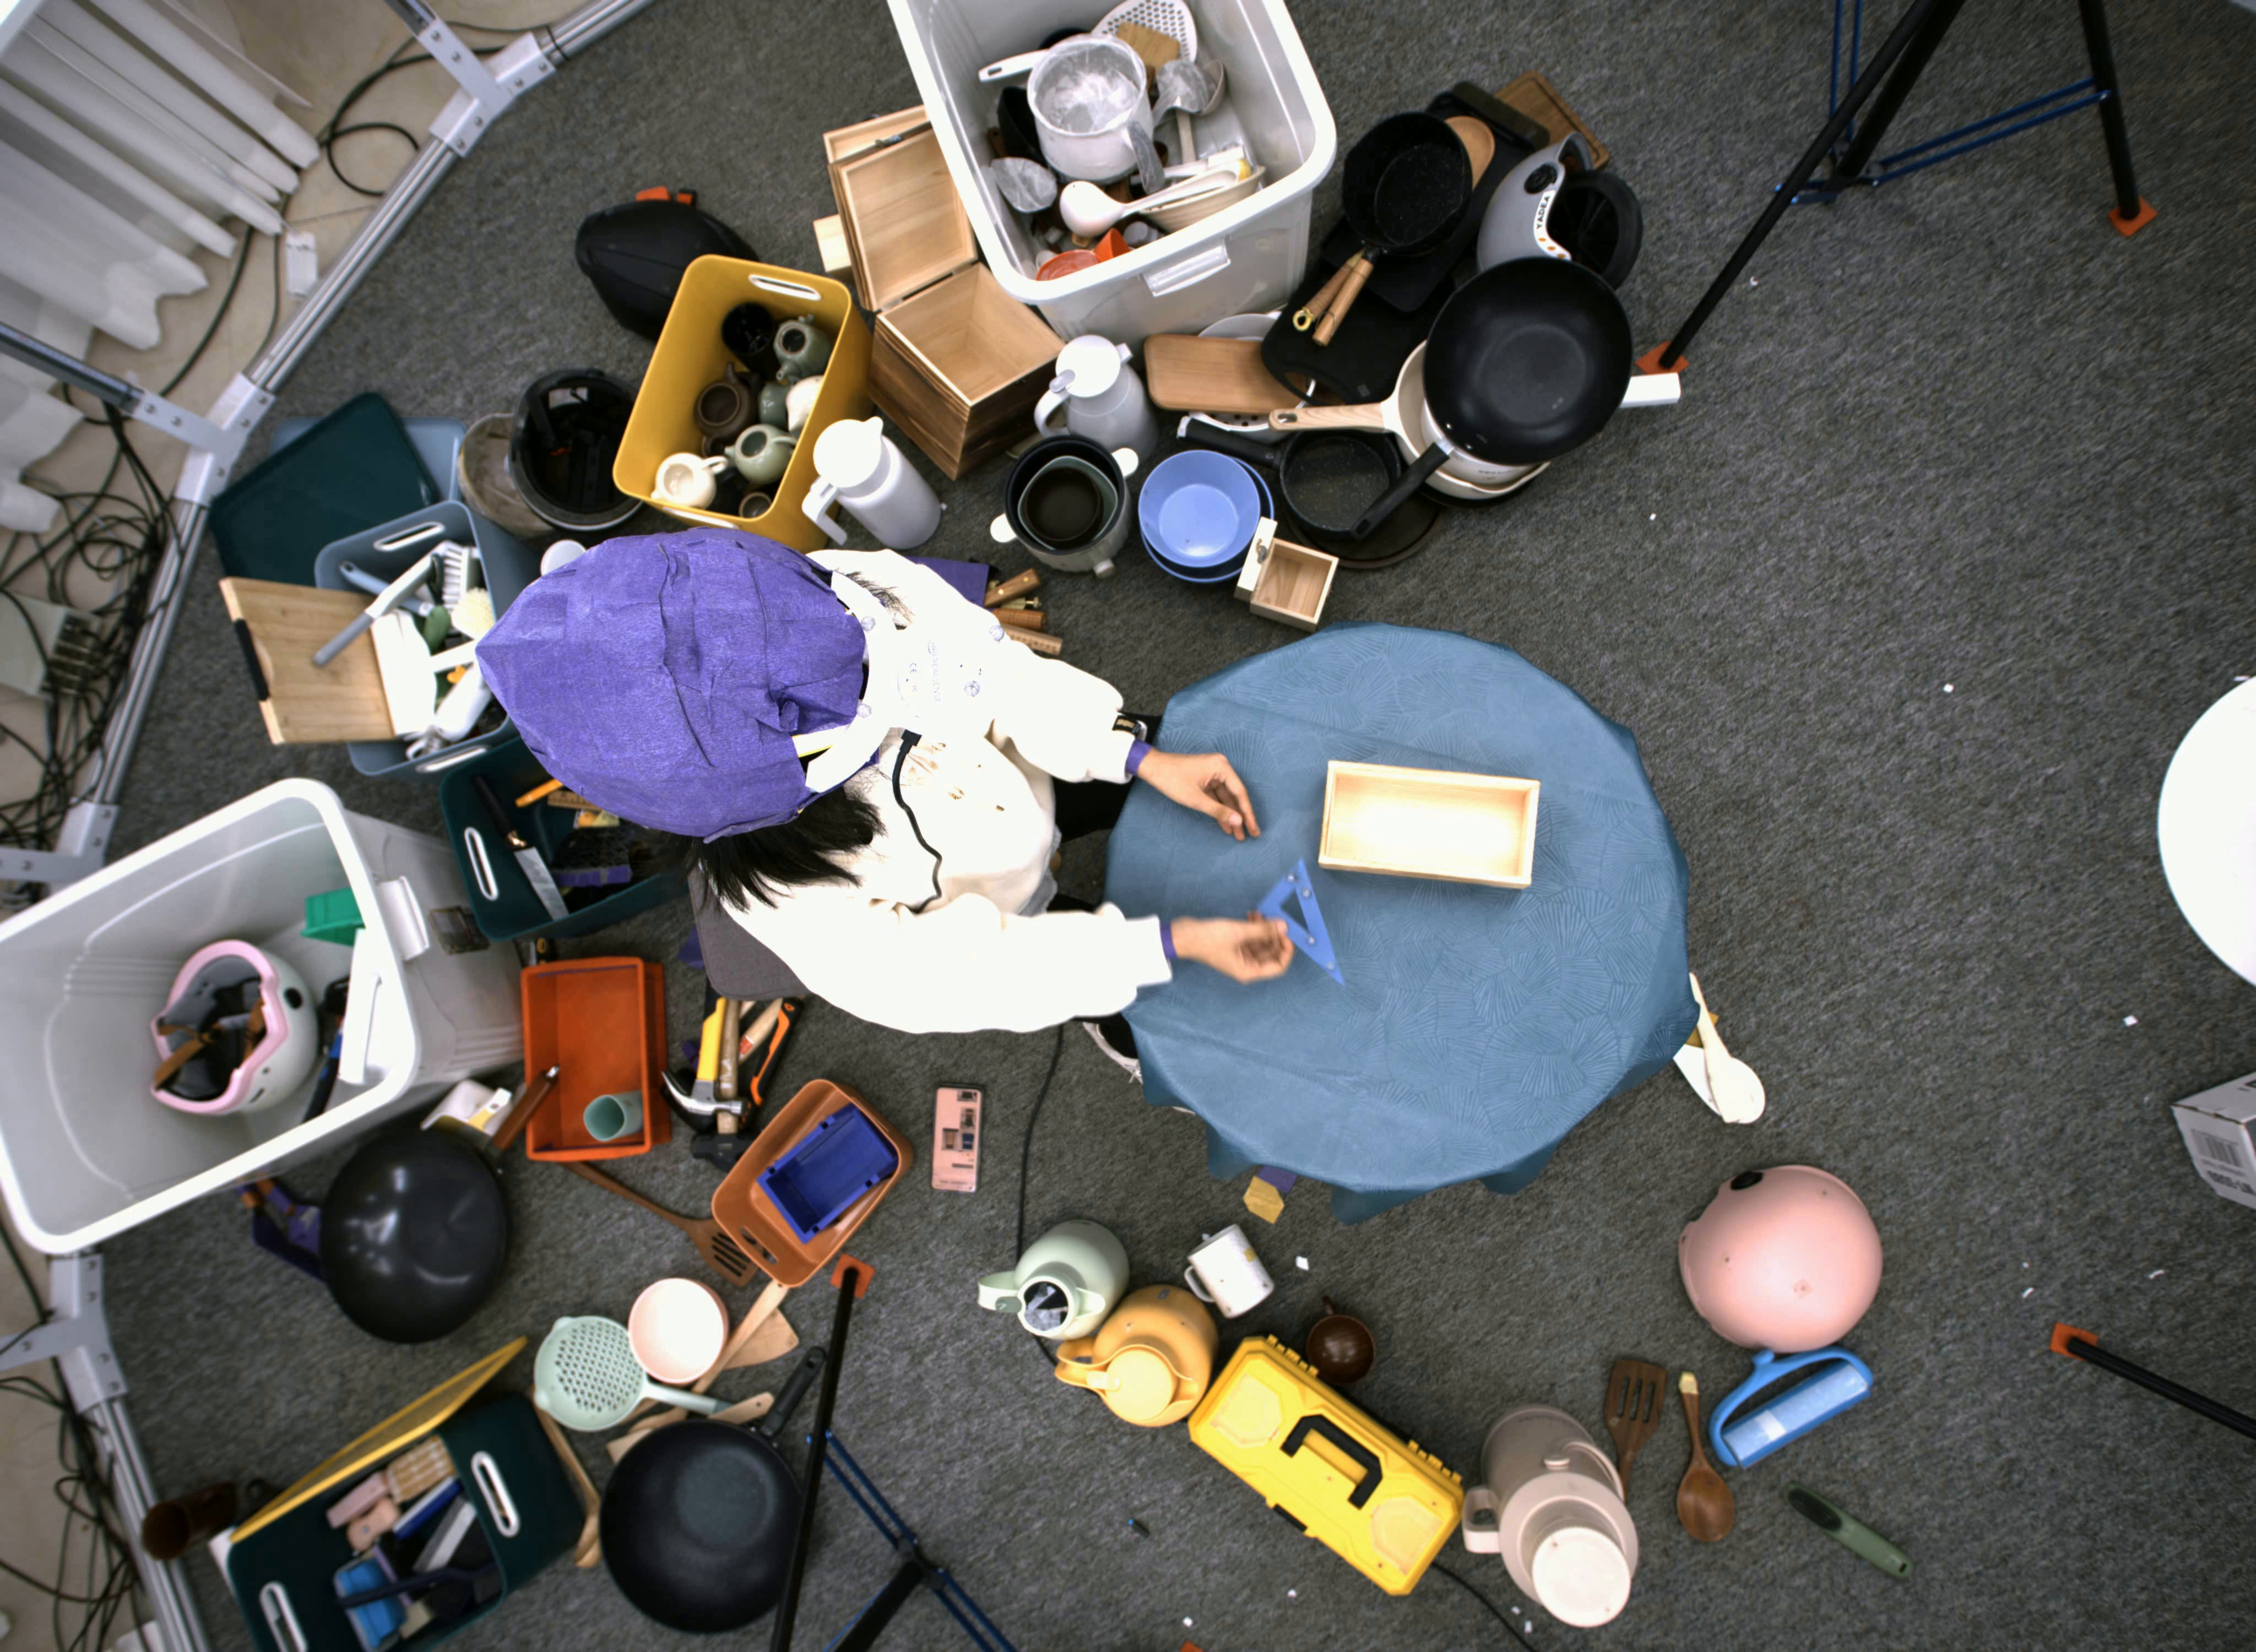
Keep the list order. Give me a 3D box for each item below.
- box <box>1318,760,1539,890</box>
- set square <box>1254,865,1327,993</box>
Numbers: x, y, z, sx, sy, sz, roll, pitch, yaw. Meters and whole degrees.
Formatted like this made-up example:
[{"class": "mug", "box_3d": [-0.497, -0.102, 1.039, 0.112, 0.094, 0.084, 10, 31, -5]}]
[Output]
[{"class": "box", "box_3d": [0.306, -0.002, 1.417, 0.212, 0.080, 0.107, 5, 86, 10]}, {"class": "set square", "box_3d": [0.163, 0.107, 1.404, 0.061, 0.006, 0.130, -12, 77, 13]}]
